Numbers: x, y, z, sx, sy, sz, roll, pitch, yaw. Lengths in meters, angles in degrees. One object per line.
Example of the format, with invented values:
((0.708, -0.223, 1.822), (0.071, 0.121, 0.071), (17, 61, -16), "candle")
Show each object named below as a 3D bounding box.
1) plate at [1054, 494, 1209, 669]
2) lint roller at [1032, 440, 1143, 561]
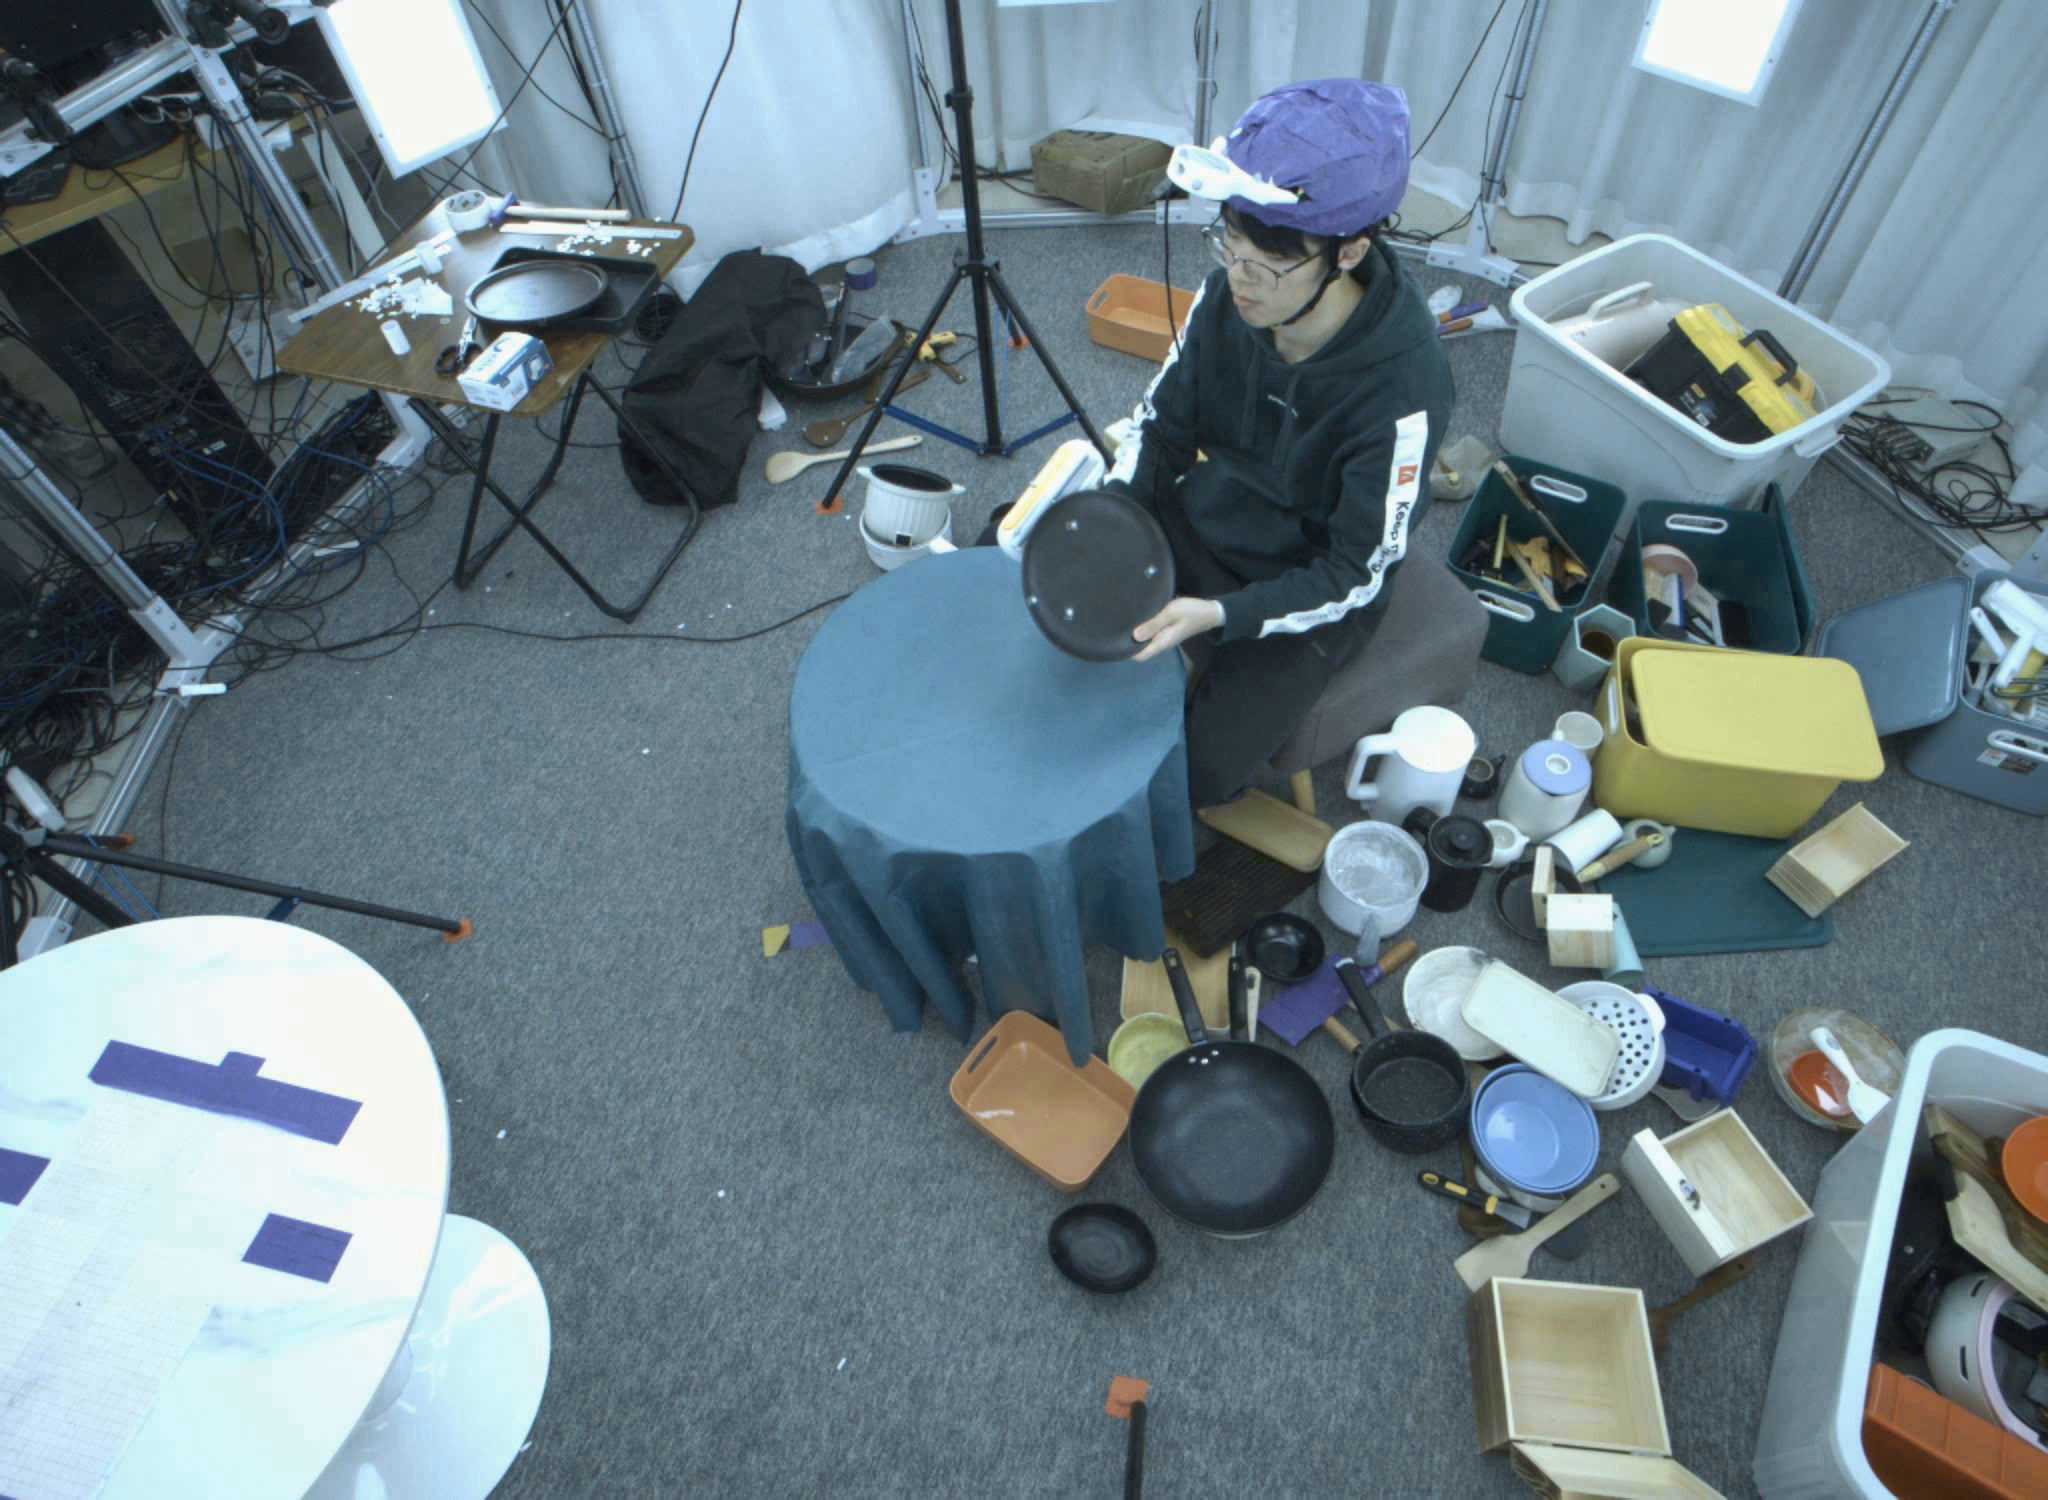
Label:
((0.148, -0.234, 1.713), (0.248, 0.023, 0.244), (-1, 94, -25), "plate")
((0.113, -0.327, 1.758), (0.193, 0.197, 0.072), (-53, 47, -2), "lint roller")
